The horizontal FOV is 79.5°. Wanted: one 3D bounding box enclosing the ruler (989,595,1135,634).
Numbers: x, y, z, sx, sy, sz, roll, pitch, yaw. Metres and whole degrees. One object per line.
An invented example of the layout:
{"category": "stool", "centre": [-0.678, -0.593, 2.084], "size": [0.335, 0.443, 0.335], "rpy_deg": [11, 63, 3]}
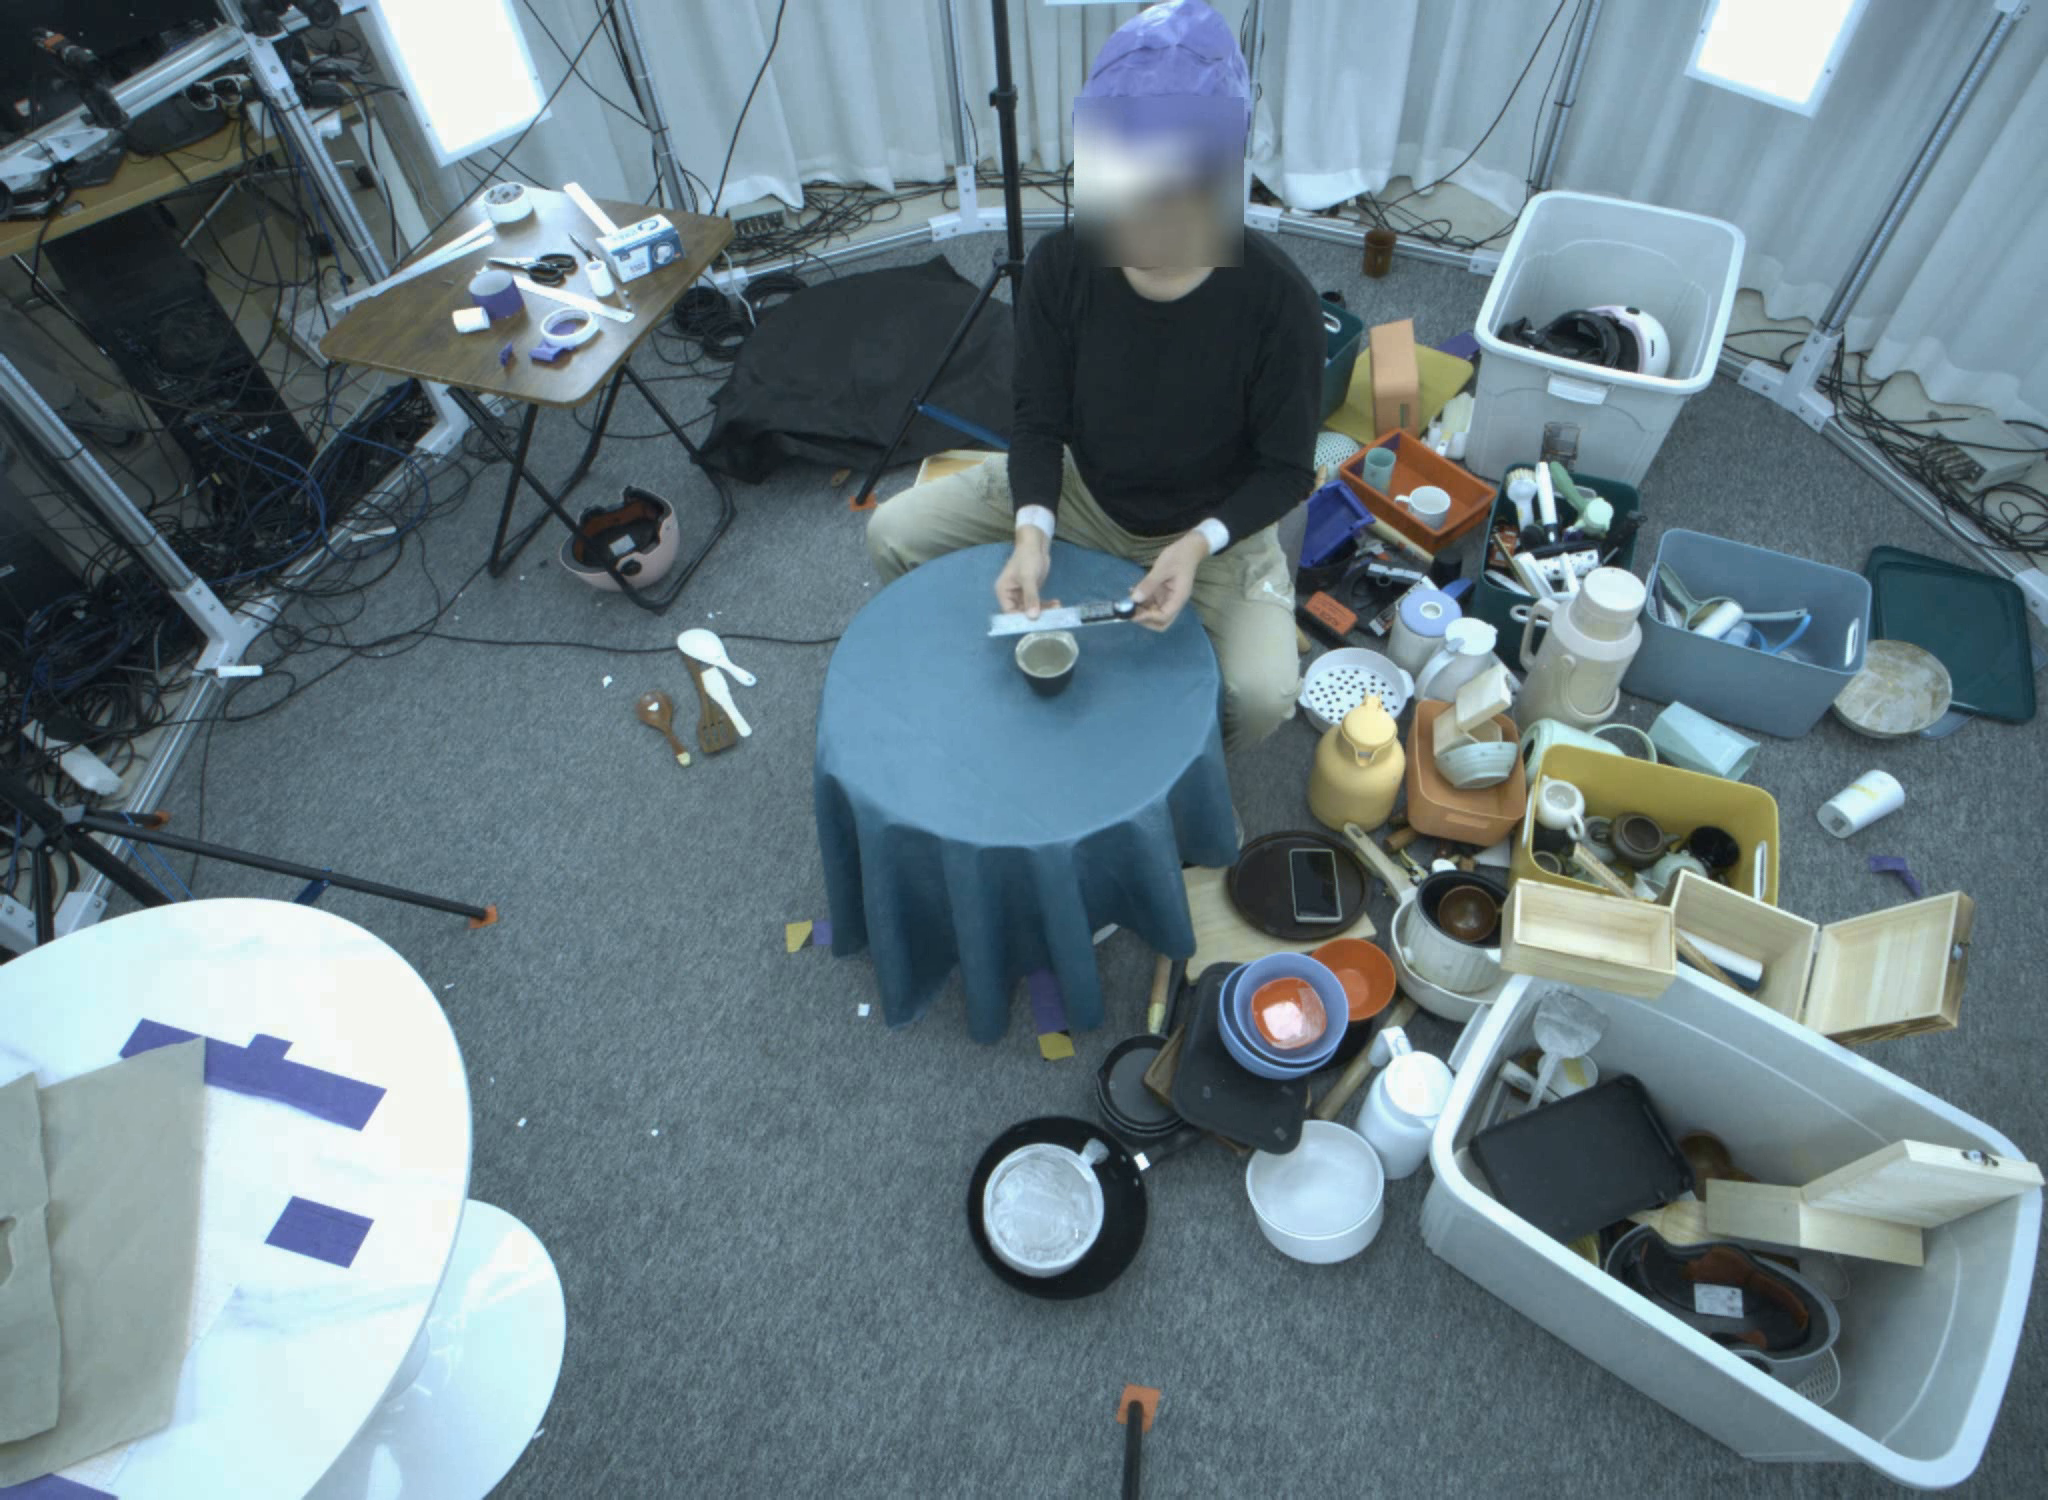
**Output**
{"category": "ruler", "centre": [0.054, -0.201, 1.817], "size": [0.217, 0.024, 0.038], "rpy_deg": [-5, 56, 4]}

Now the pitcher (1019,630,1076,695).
{"category": "pitcher", "centre": [0.039, -0.126, 1.831], "size": [0.082, 0.072, 0.096], "rpy_deg": [33, 64, 24]}
